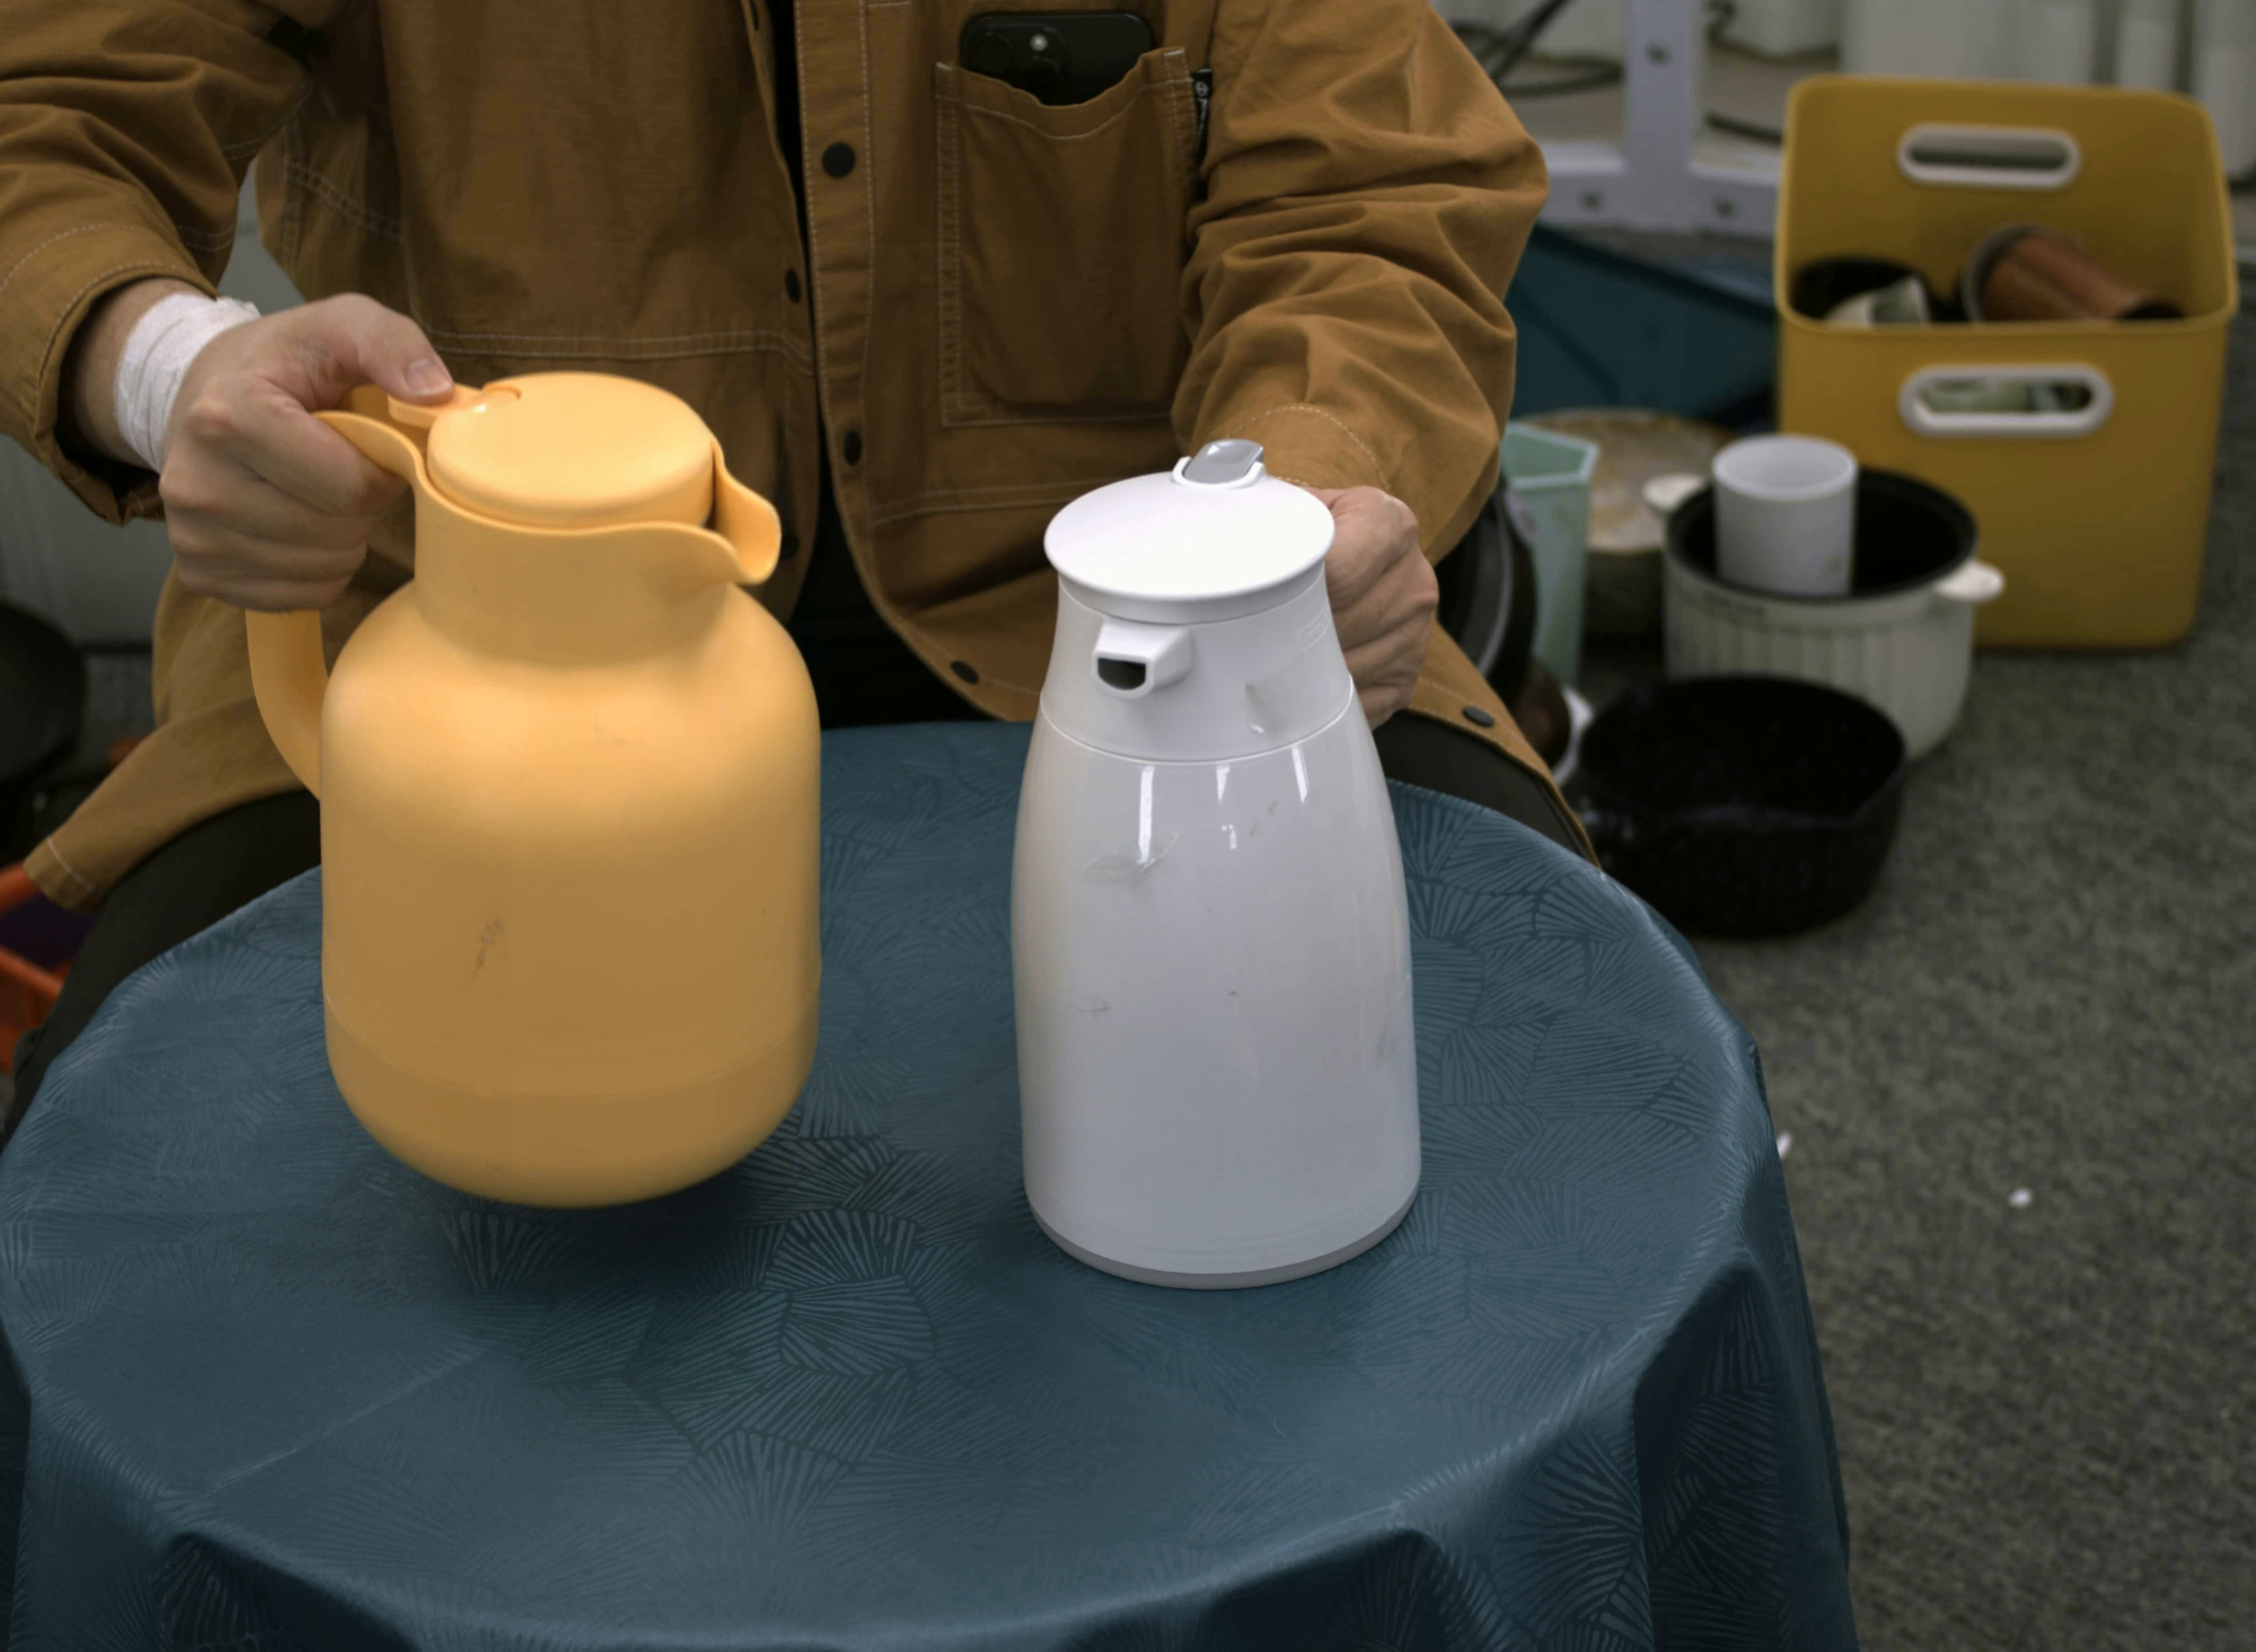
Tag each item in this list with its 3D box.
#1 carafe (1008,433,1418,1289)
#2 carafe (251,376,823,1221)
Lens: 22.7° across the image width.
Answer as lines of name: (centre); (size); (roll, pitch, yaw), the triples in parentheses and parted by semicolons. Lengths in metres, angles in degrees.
carafe: (0.030, 0.000, 1.823); (0.131, 0.246, 0.170); (6, 27, 19)
carafe: (-0.194, -0.020, 1.813); (0.202, 0.257, 0.166); (20, 31, 26)
